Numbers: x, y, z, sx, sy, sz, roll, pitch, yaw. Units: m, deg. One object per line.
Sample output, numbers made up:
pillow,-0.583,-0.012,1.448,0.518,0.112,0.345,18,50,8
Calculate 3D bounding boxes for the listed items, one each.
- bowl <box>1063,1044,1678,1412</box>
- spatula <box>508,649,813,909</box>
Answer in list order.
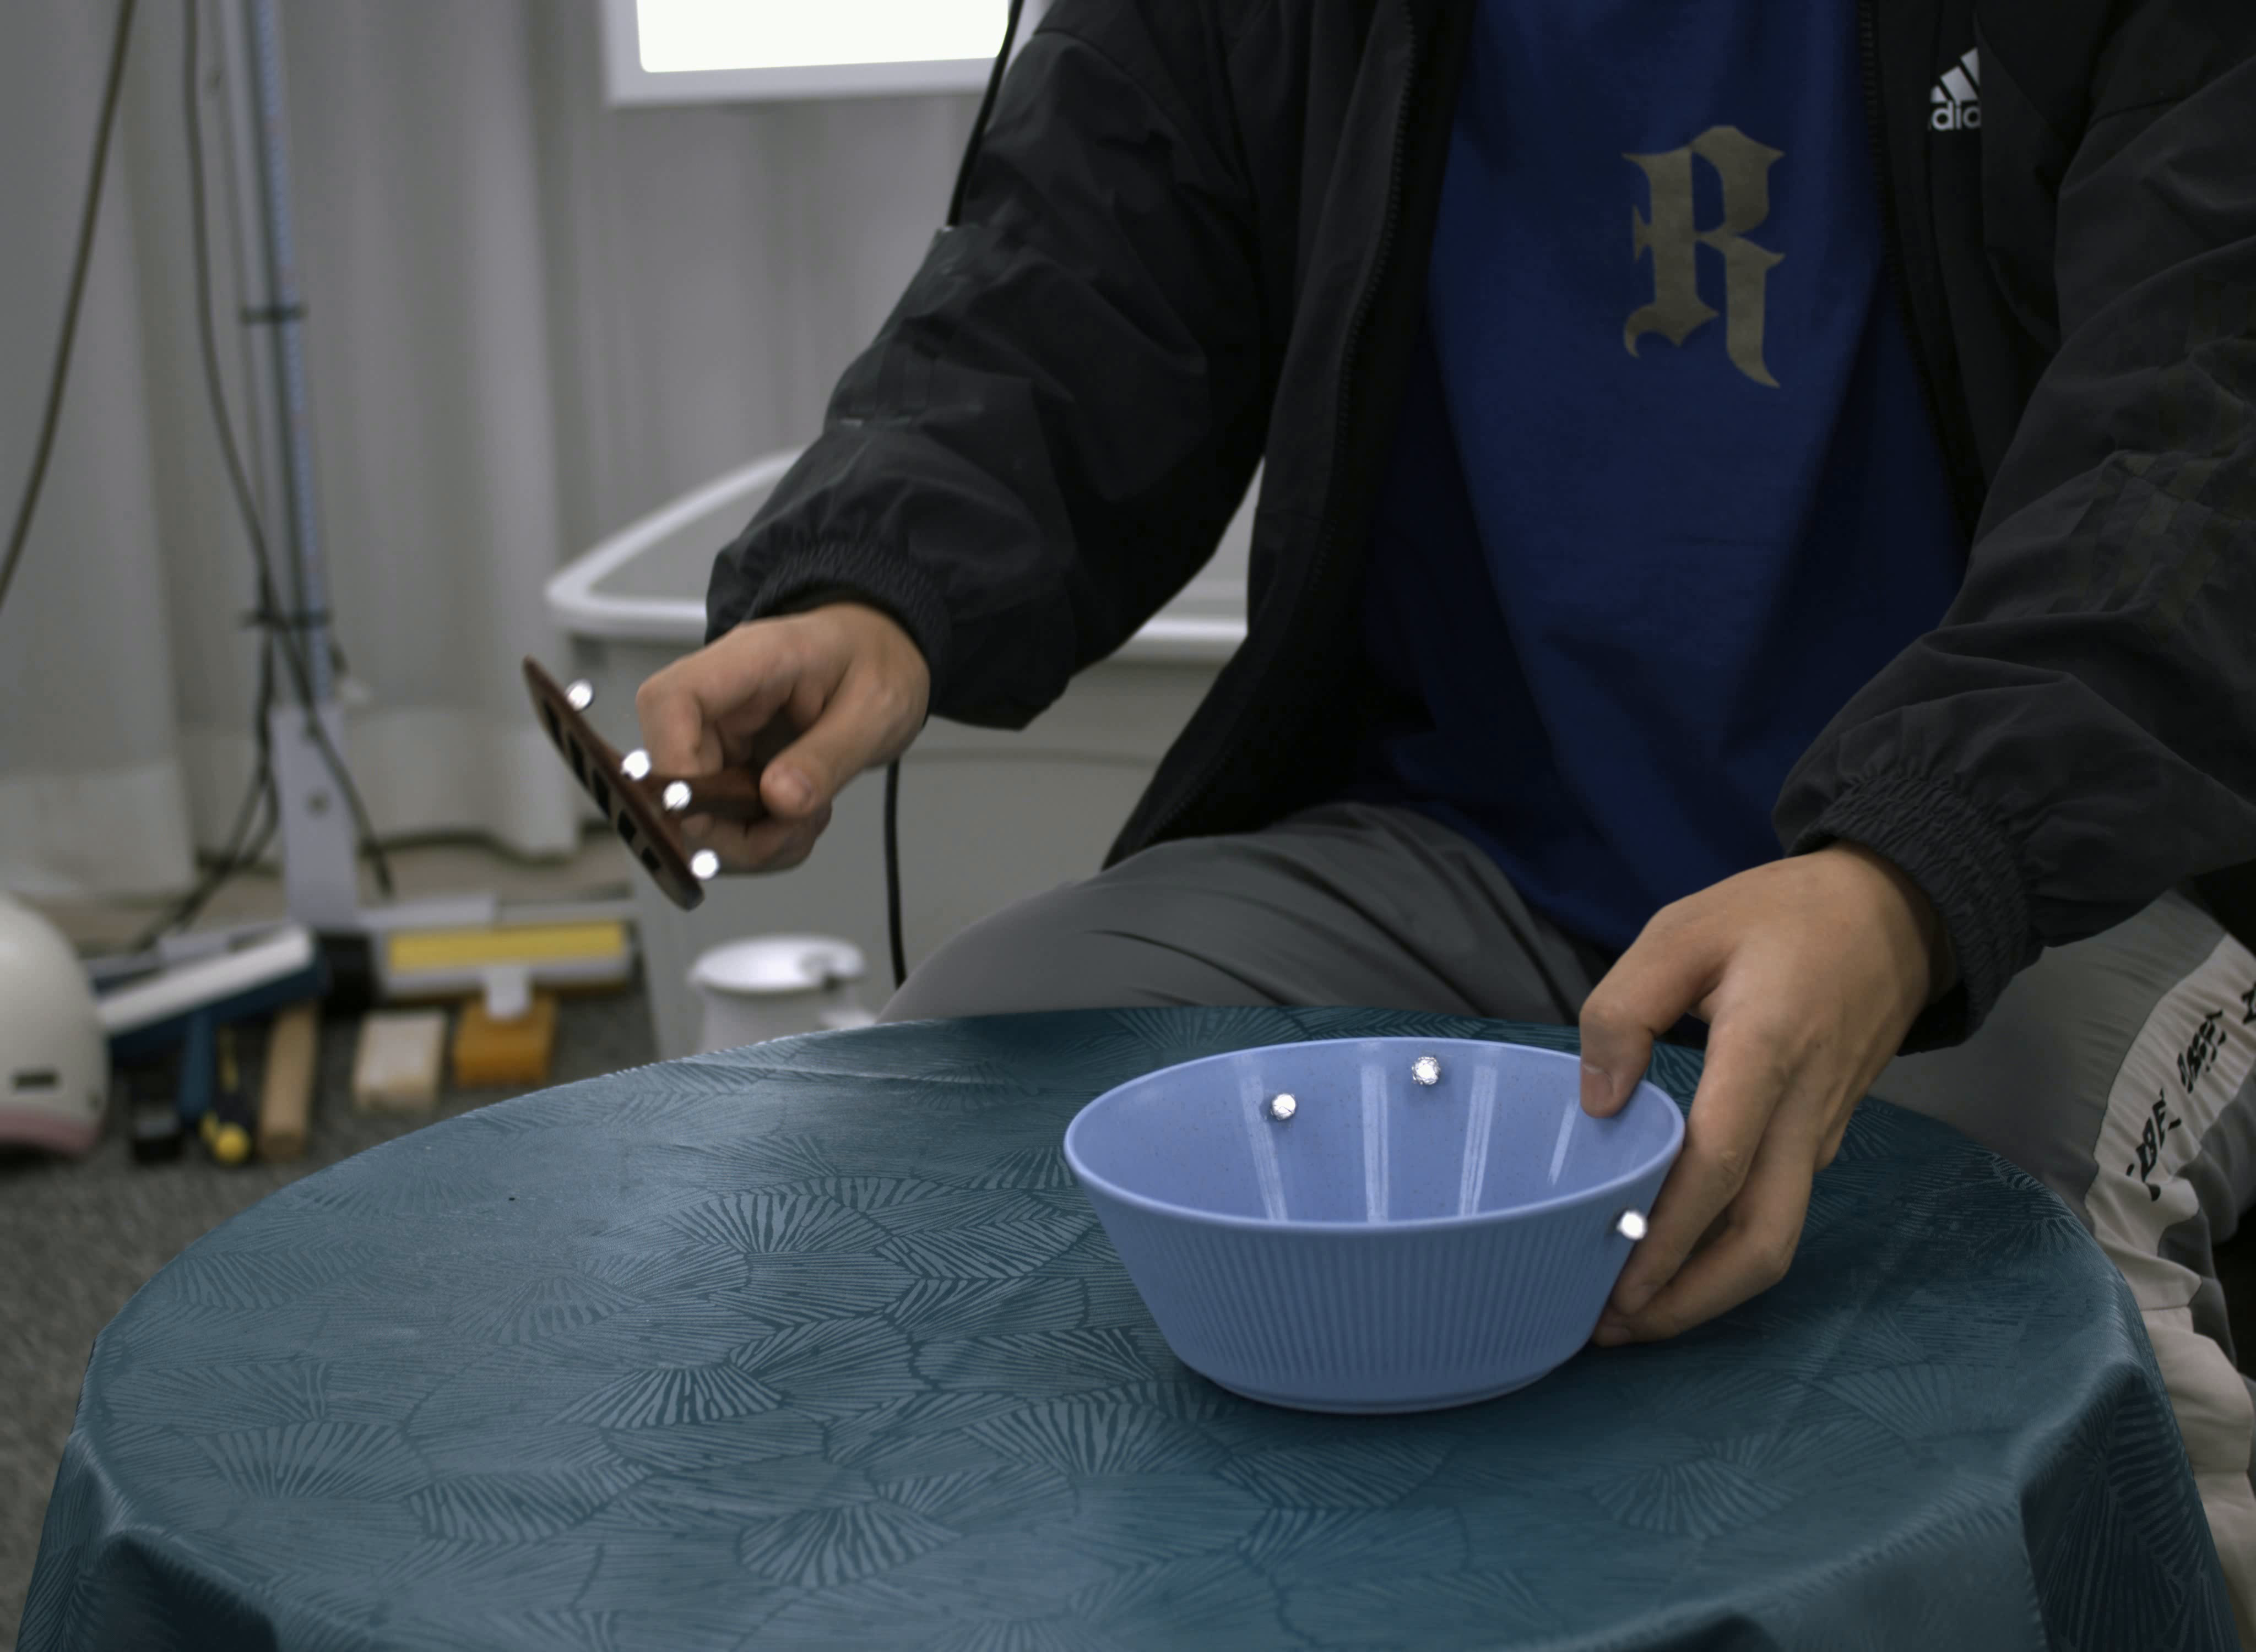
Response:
bowl,0.069,0.116,1.552,0.175,0.070,0.177,-2,13,0
spatula,-0.136,-0.006,1.697,0.024,0.086,0.386,-37,-5,3
